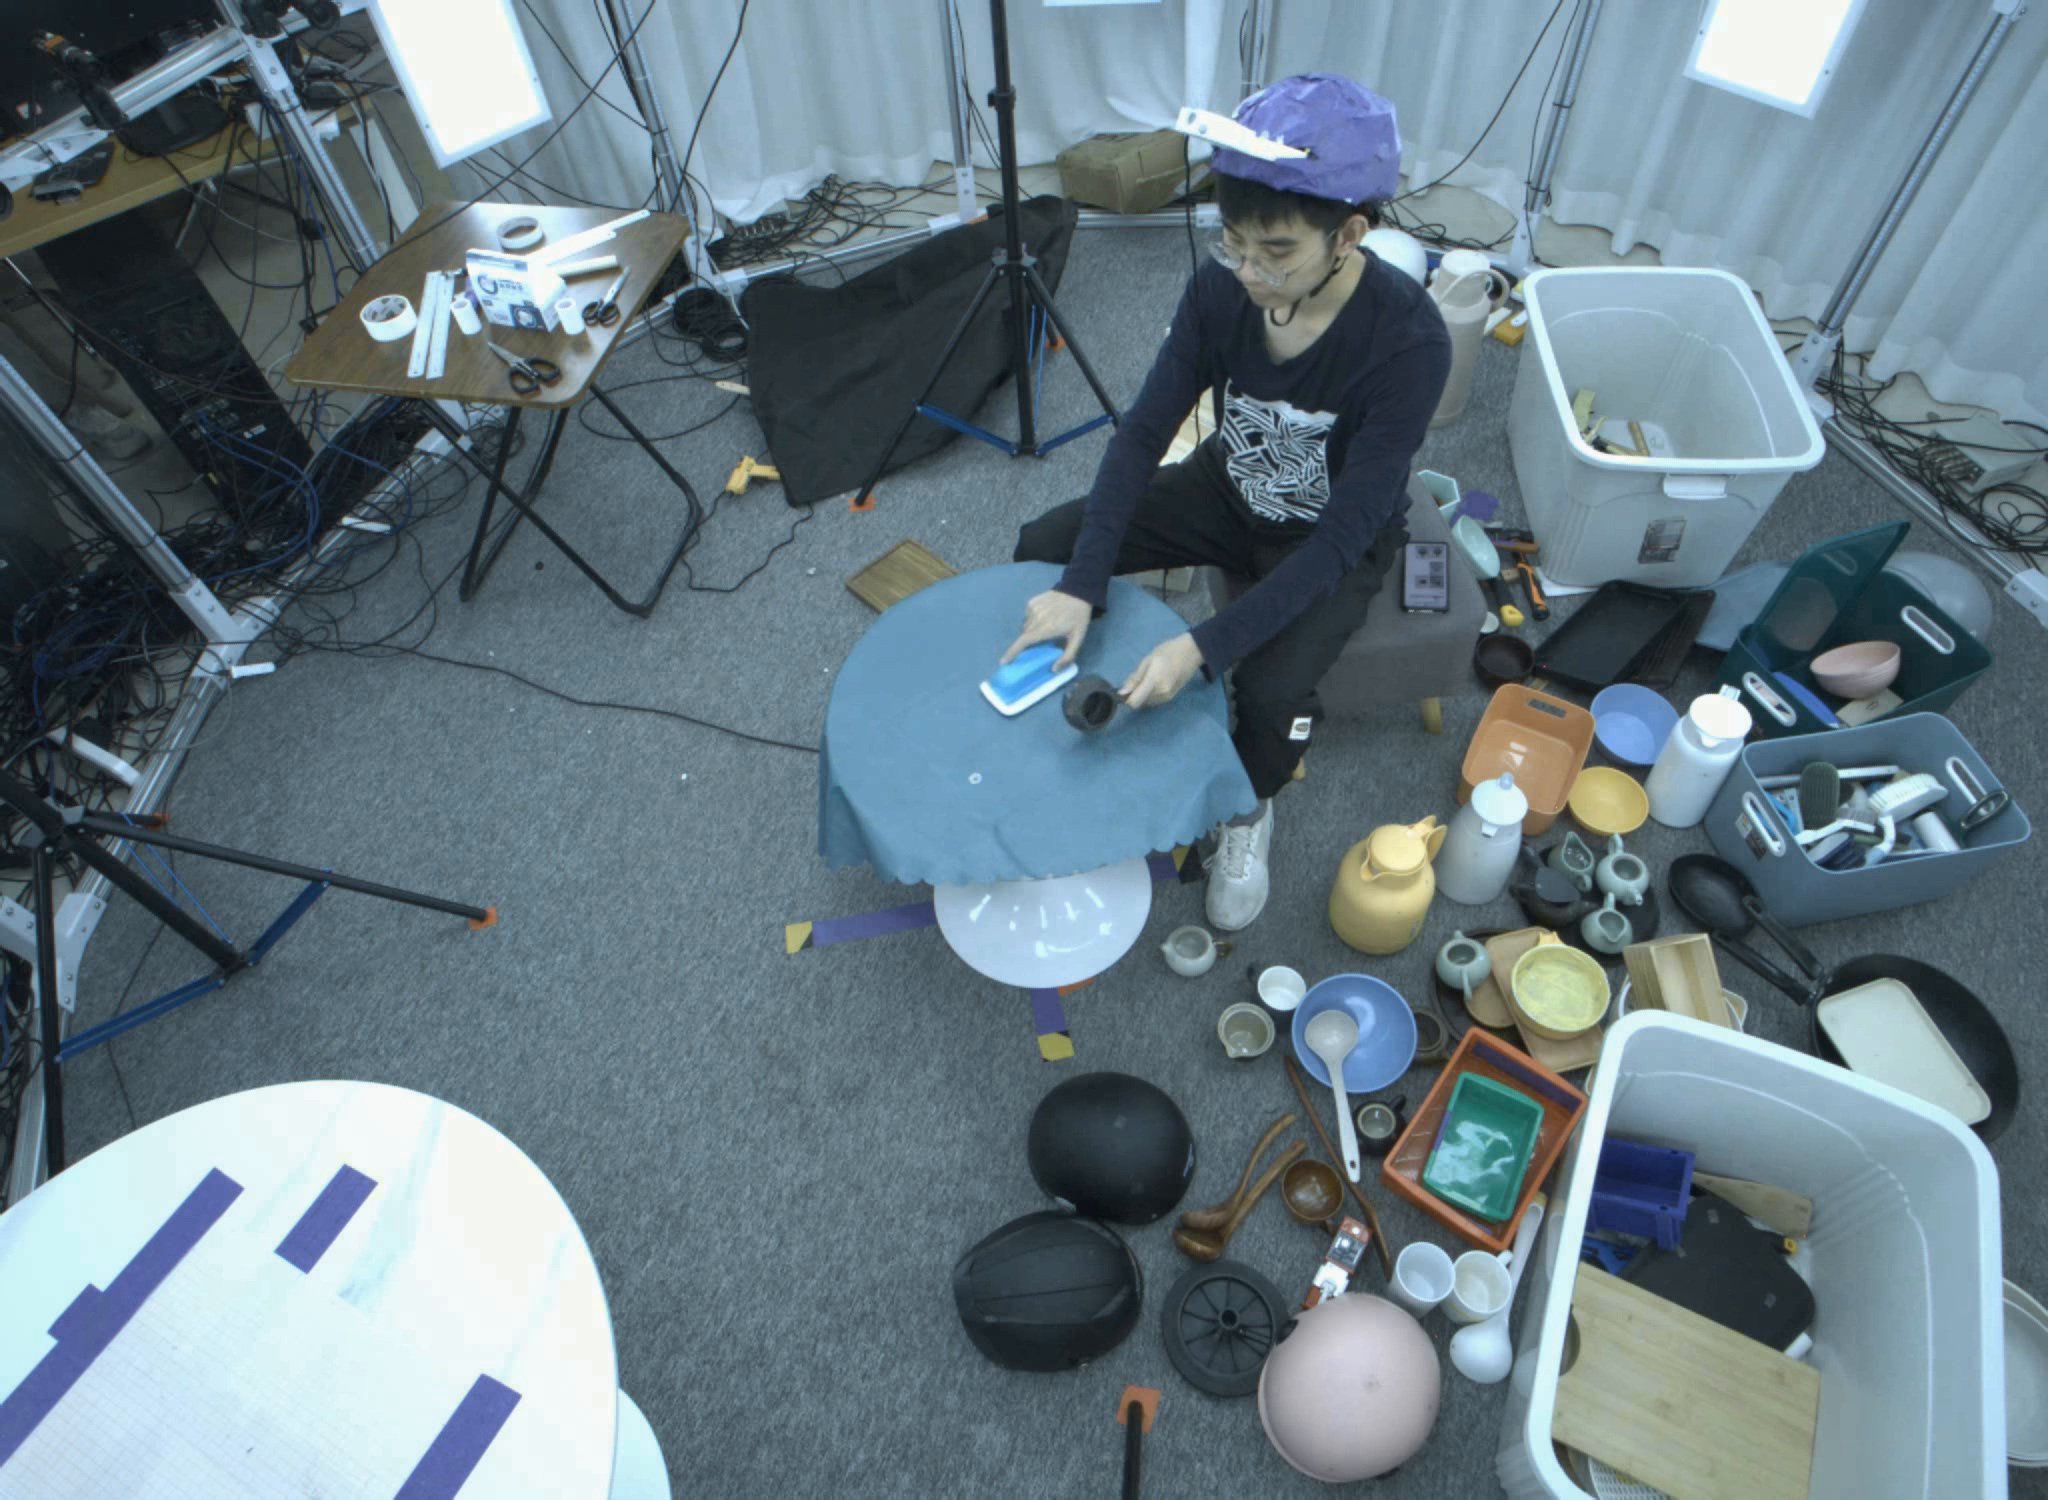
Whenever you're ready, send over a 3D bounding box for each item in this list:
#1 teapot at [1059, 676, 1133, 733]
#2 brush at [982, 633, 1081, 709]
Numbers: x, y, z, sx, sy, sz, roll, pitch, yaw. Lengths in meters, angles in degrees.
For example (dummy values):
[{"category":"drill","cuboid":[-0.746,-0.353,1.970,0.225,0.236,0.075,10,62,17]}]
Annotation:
[{"category":"teapot","cuboid":[0.102,-0.067,1.751,0.115,0.084,0.052,-15,26,-17]},{"category":"brush","cuboid":[0.010,-0.126,1.831,0.145,0.056,0.082,-33,62,-16]}]
